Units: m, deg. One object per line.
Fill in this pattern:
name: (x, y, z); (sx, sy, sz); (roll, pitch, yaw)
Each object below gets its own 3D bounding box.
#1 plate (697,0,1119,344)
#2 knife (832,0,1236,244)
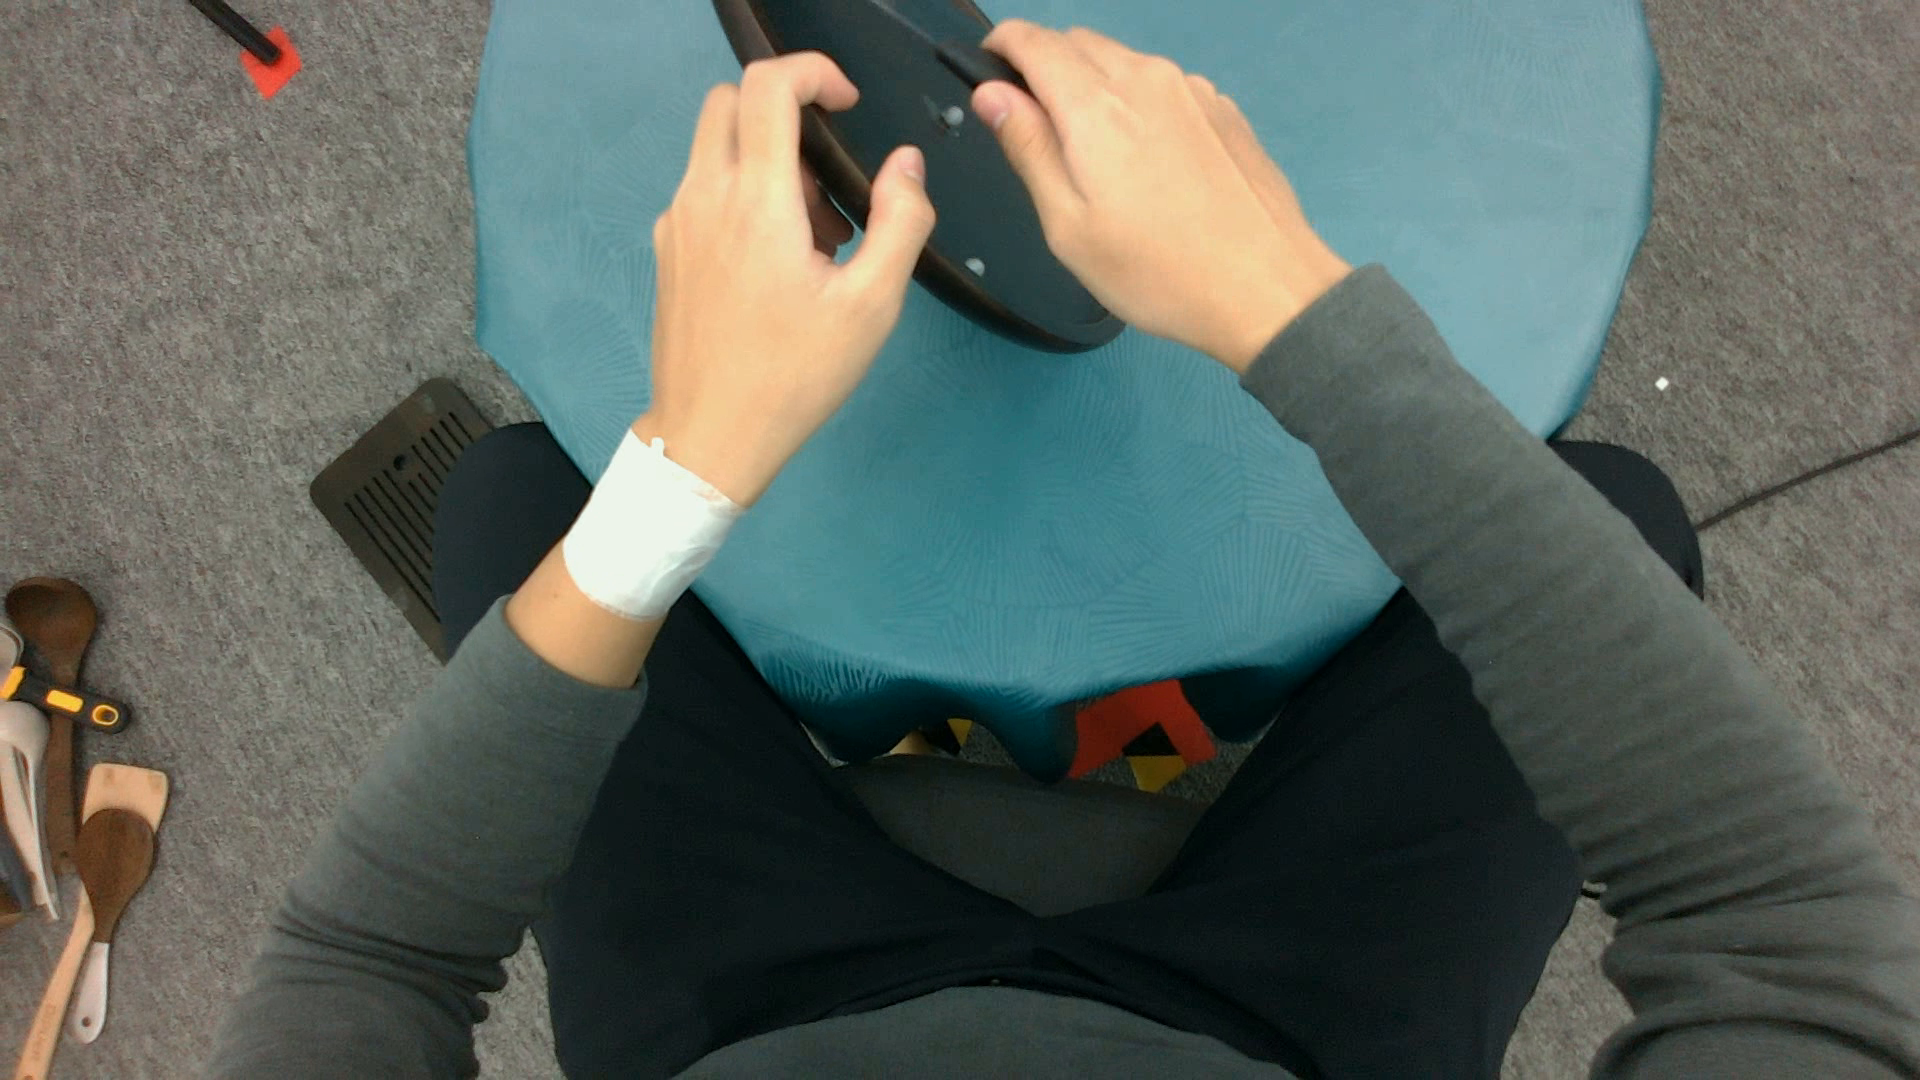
plate: (-0.019, -0.189, 0.591); (0.029, 0.255, 0.255); (-34, 81, 27)
knife: (-0.030, -0.194, 0.494); (0.302, 0.081, 0.021); (32, 122, -5)
